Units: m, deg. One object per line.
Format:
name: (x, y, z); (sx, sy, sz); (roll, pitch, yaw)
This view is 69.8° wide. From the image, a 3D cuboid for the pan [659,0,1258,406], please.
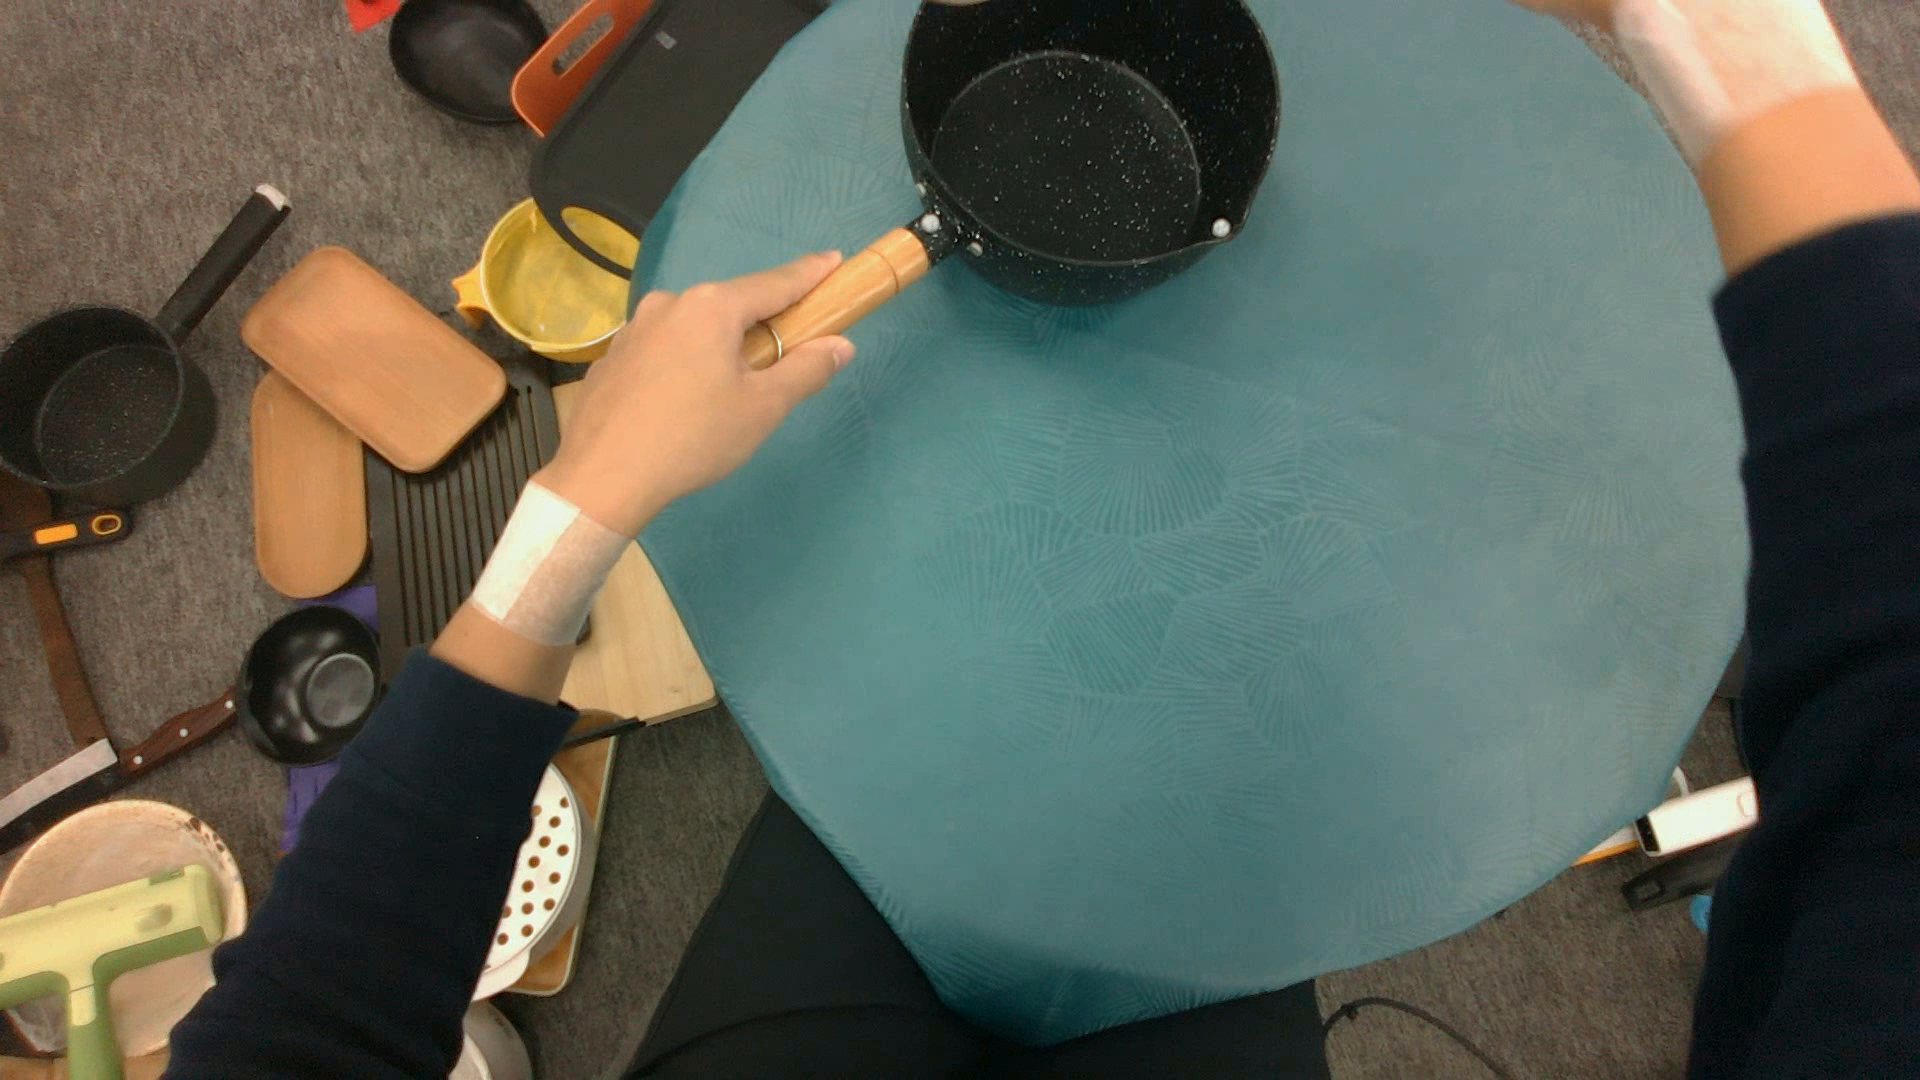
pan: (-0.005, -0.162, 0.674); (0.207, 0.108, 0.344); (45, 74, 6)
